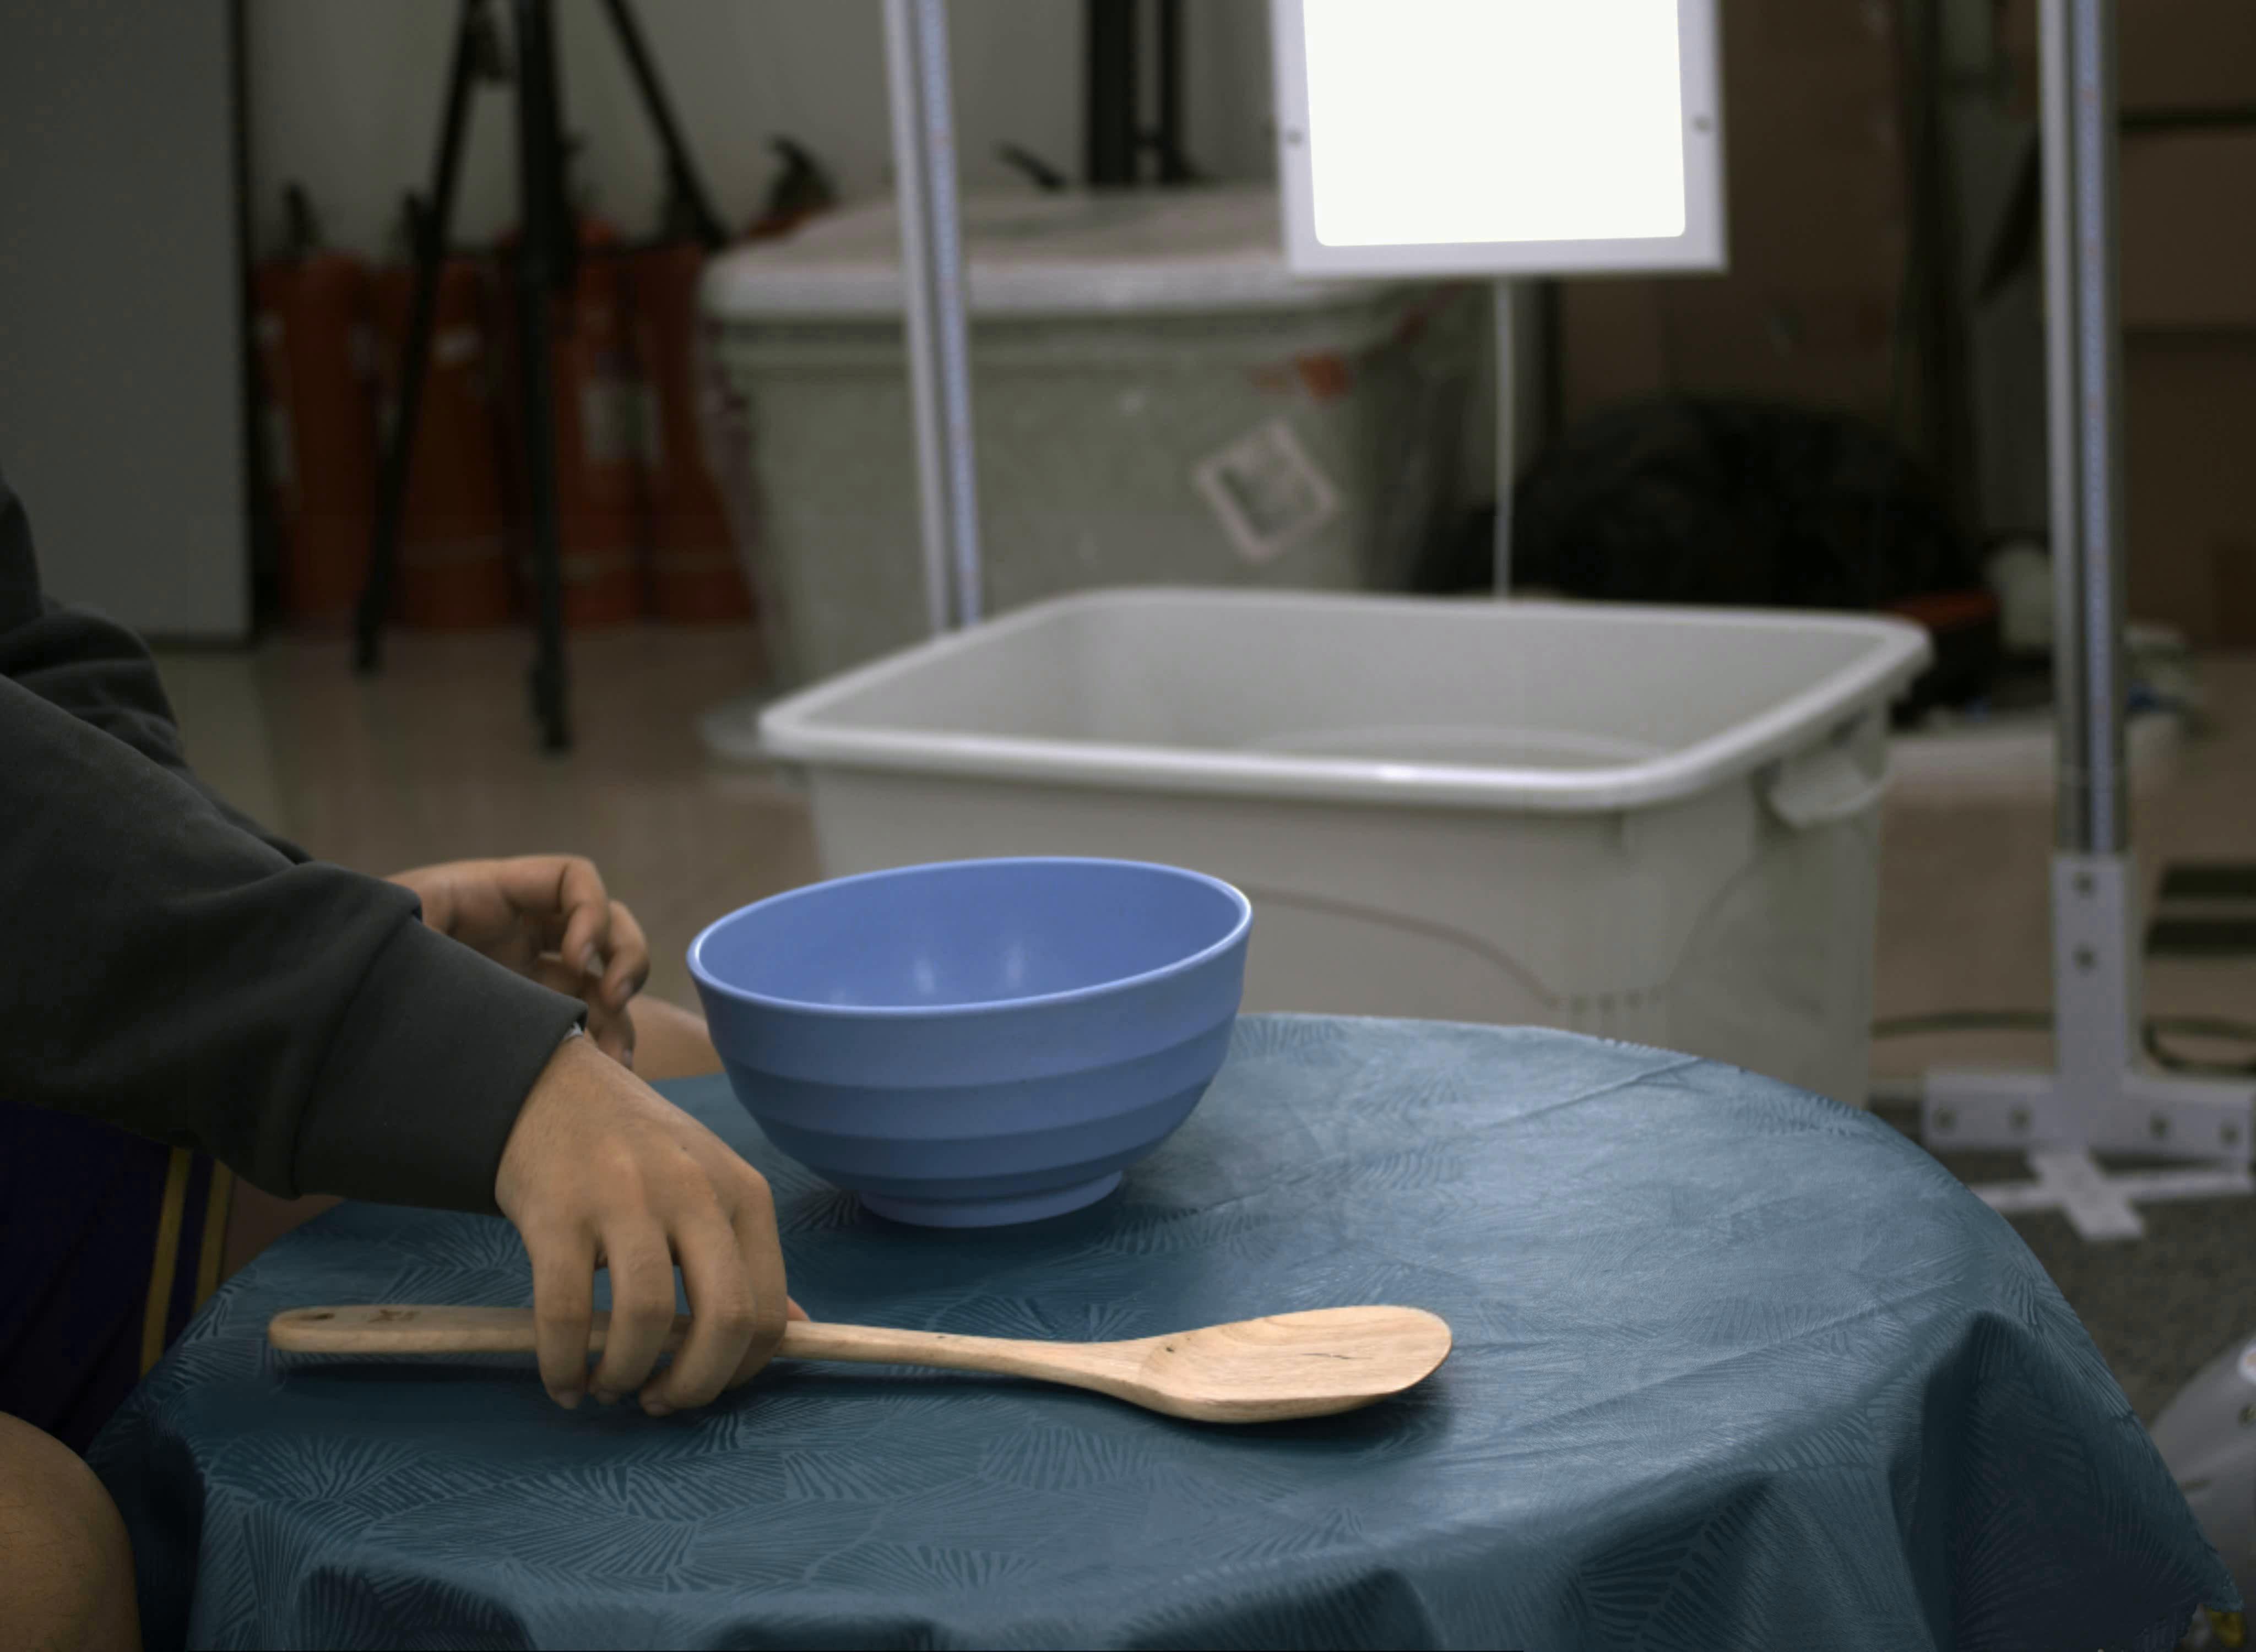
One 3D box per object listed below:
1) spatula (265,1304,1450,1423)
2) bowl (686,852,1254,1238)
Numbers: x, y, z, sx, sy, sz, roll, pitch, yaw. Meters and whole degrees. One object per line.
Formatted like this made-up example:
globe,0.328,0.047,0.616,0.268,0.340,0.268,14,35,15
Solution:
spatula,-0.092,0.163,1.725,0.395,0.018,0.094,1,11,18
bowl,-0.052,0.082,1.906,0.196,0.096,0.196,-4,16,0
